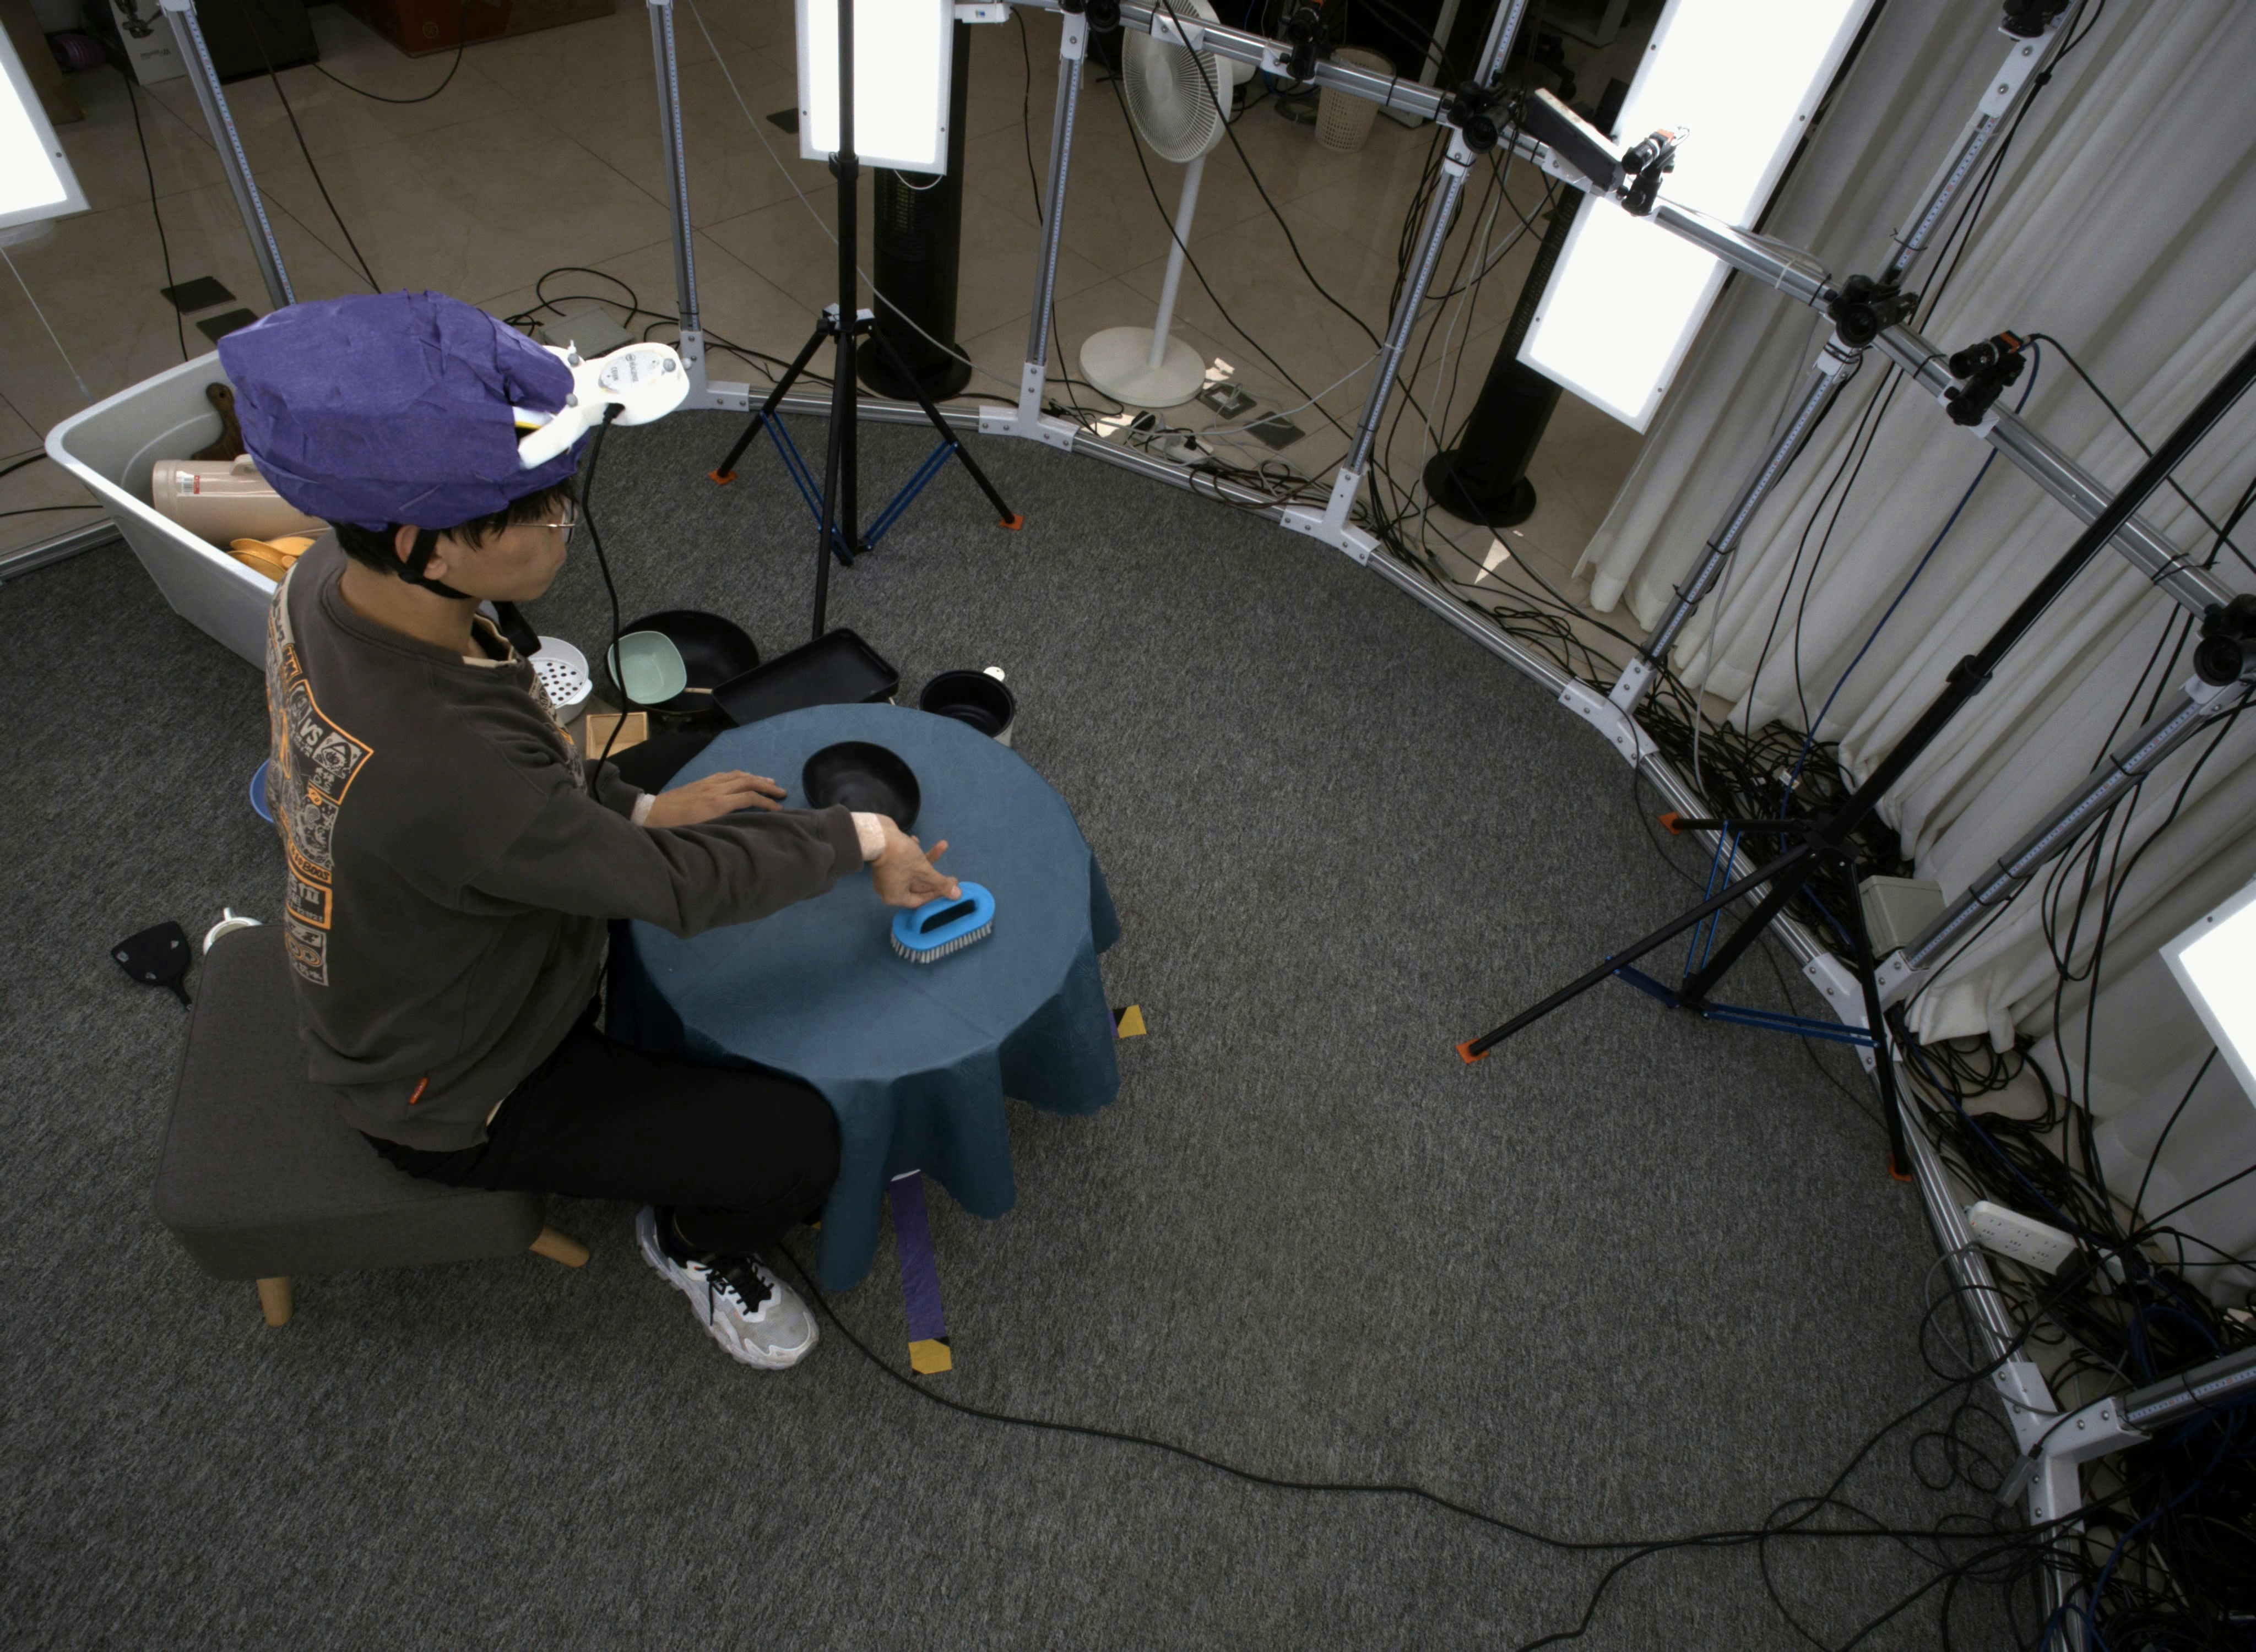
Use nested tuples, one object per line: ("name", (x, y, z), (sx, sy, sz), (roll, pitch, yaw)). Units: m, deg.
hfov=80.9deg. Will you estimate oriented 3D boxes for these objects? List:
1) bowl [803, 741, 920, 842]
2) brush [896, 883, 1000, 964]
("bowl", (-0.355, -0.036, 1.742), (0.167, 0.068, 0.137), (34, 55, 10))
("brush", (-0.231, 0.112, 1.661), (0.142, 0.065, 0.082), (-22, 56, -27))
